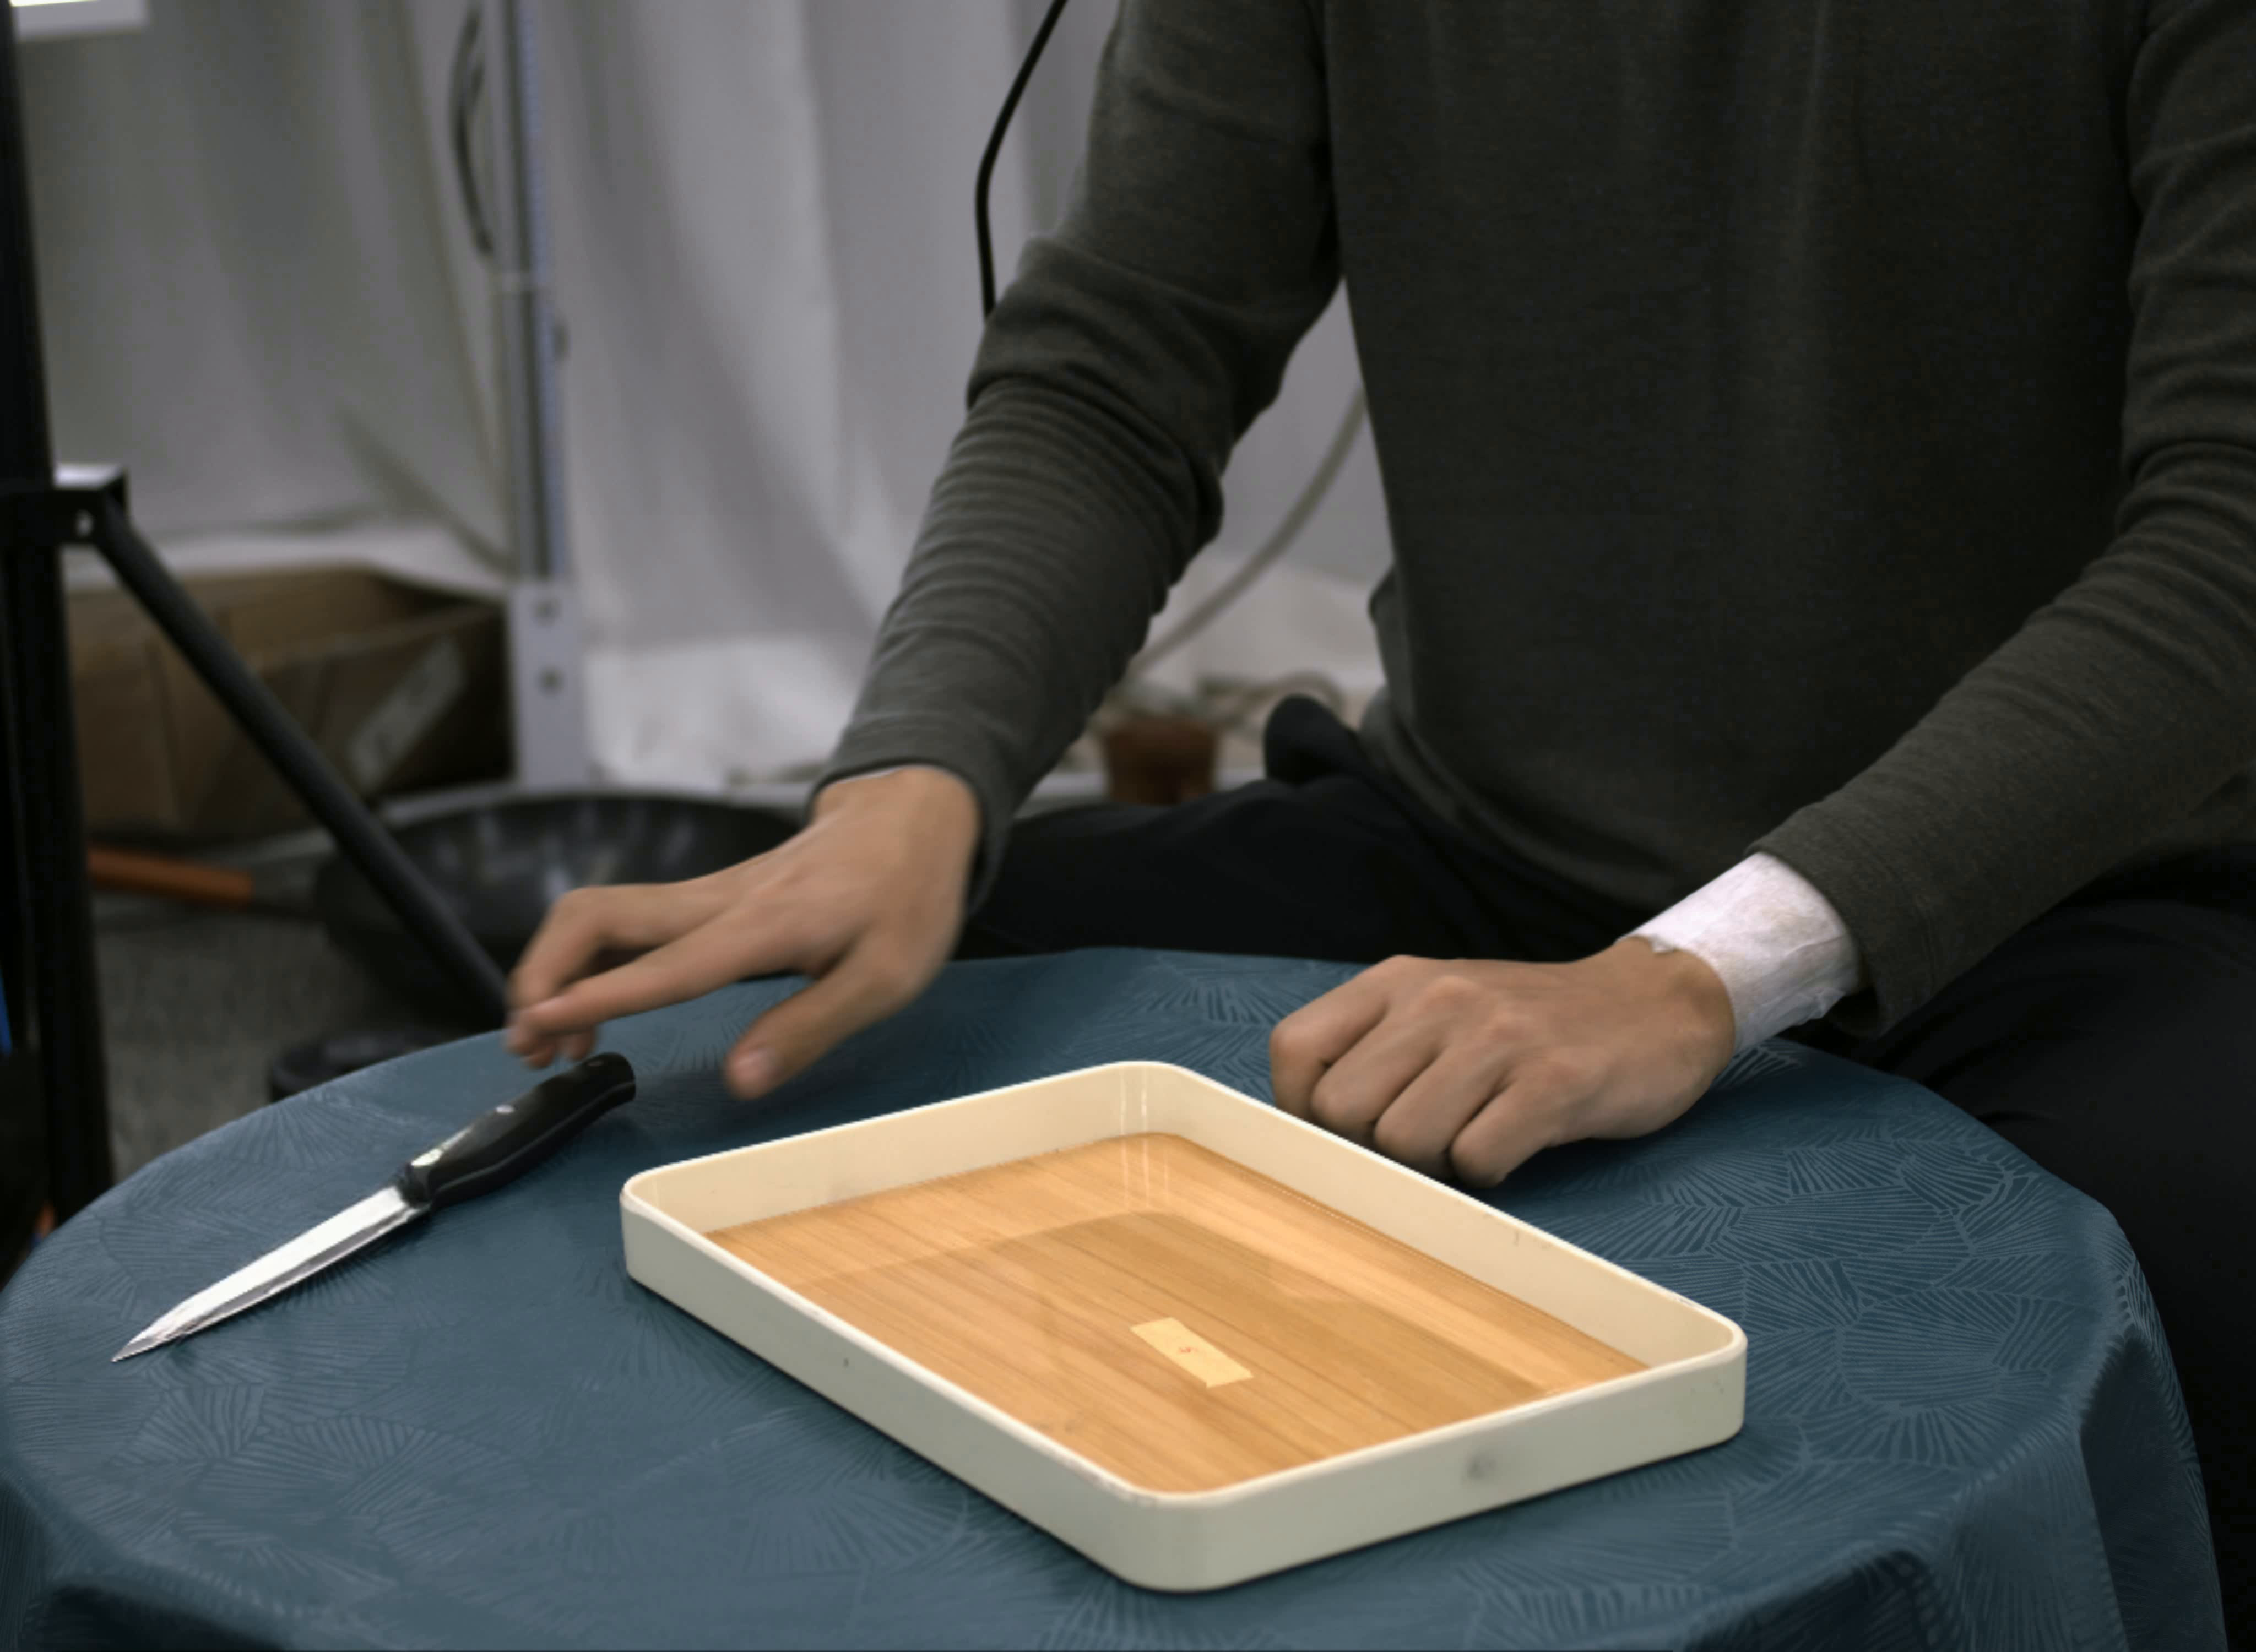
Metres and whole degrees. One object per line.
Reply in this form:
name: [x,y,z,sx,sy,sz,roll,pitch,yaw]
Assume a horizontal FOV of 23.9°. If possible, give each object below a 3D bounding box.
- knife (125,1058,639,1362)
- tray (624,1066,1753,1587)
knife: [-0.218,0.112,1.561,0.025,0.016,0.234,6,20,30]
tray: [0.009,0.129,1.438,0.187,0.027,0.307,-10,18,-29]
